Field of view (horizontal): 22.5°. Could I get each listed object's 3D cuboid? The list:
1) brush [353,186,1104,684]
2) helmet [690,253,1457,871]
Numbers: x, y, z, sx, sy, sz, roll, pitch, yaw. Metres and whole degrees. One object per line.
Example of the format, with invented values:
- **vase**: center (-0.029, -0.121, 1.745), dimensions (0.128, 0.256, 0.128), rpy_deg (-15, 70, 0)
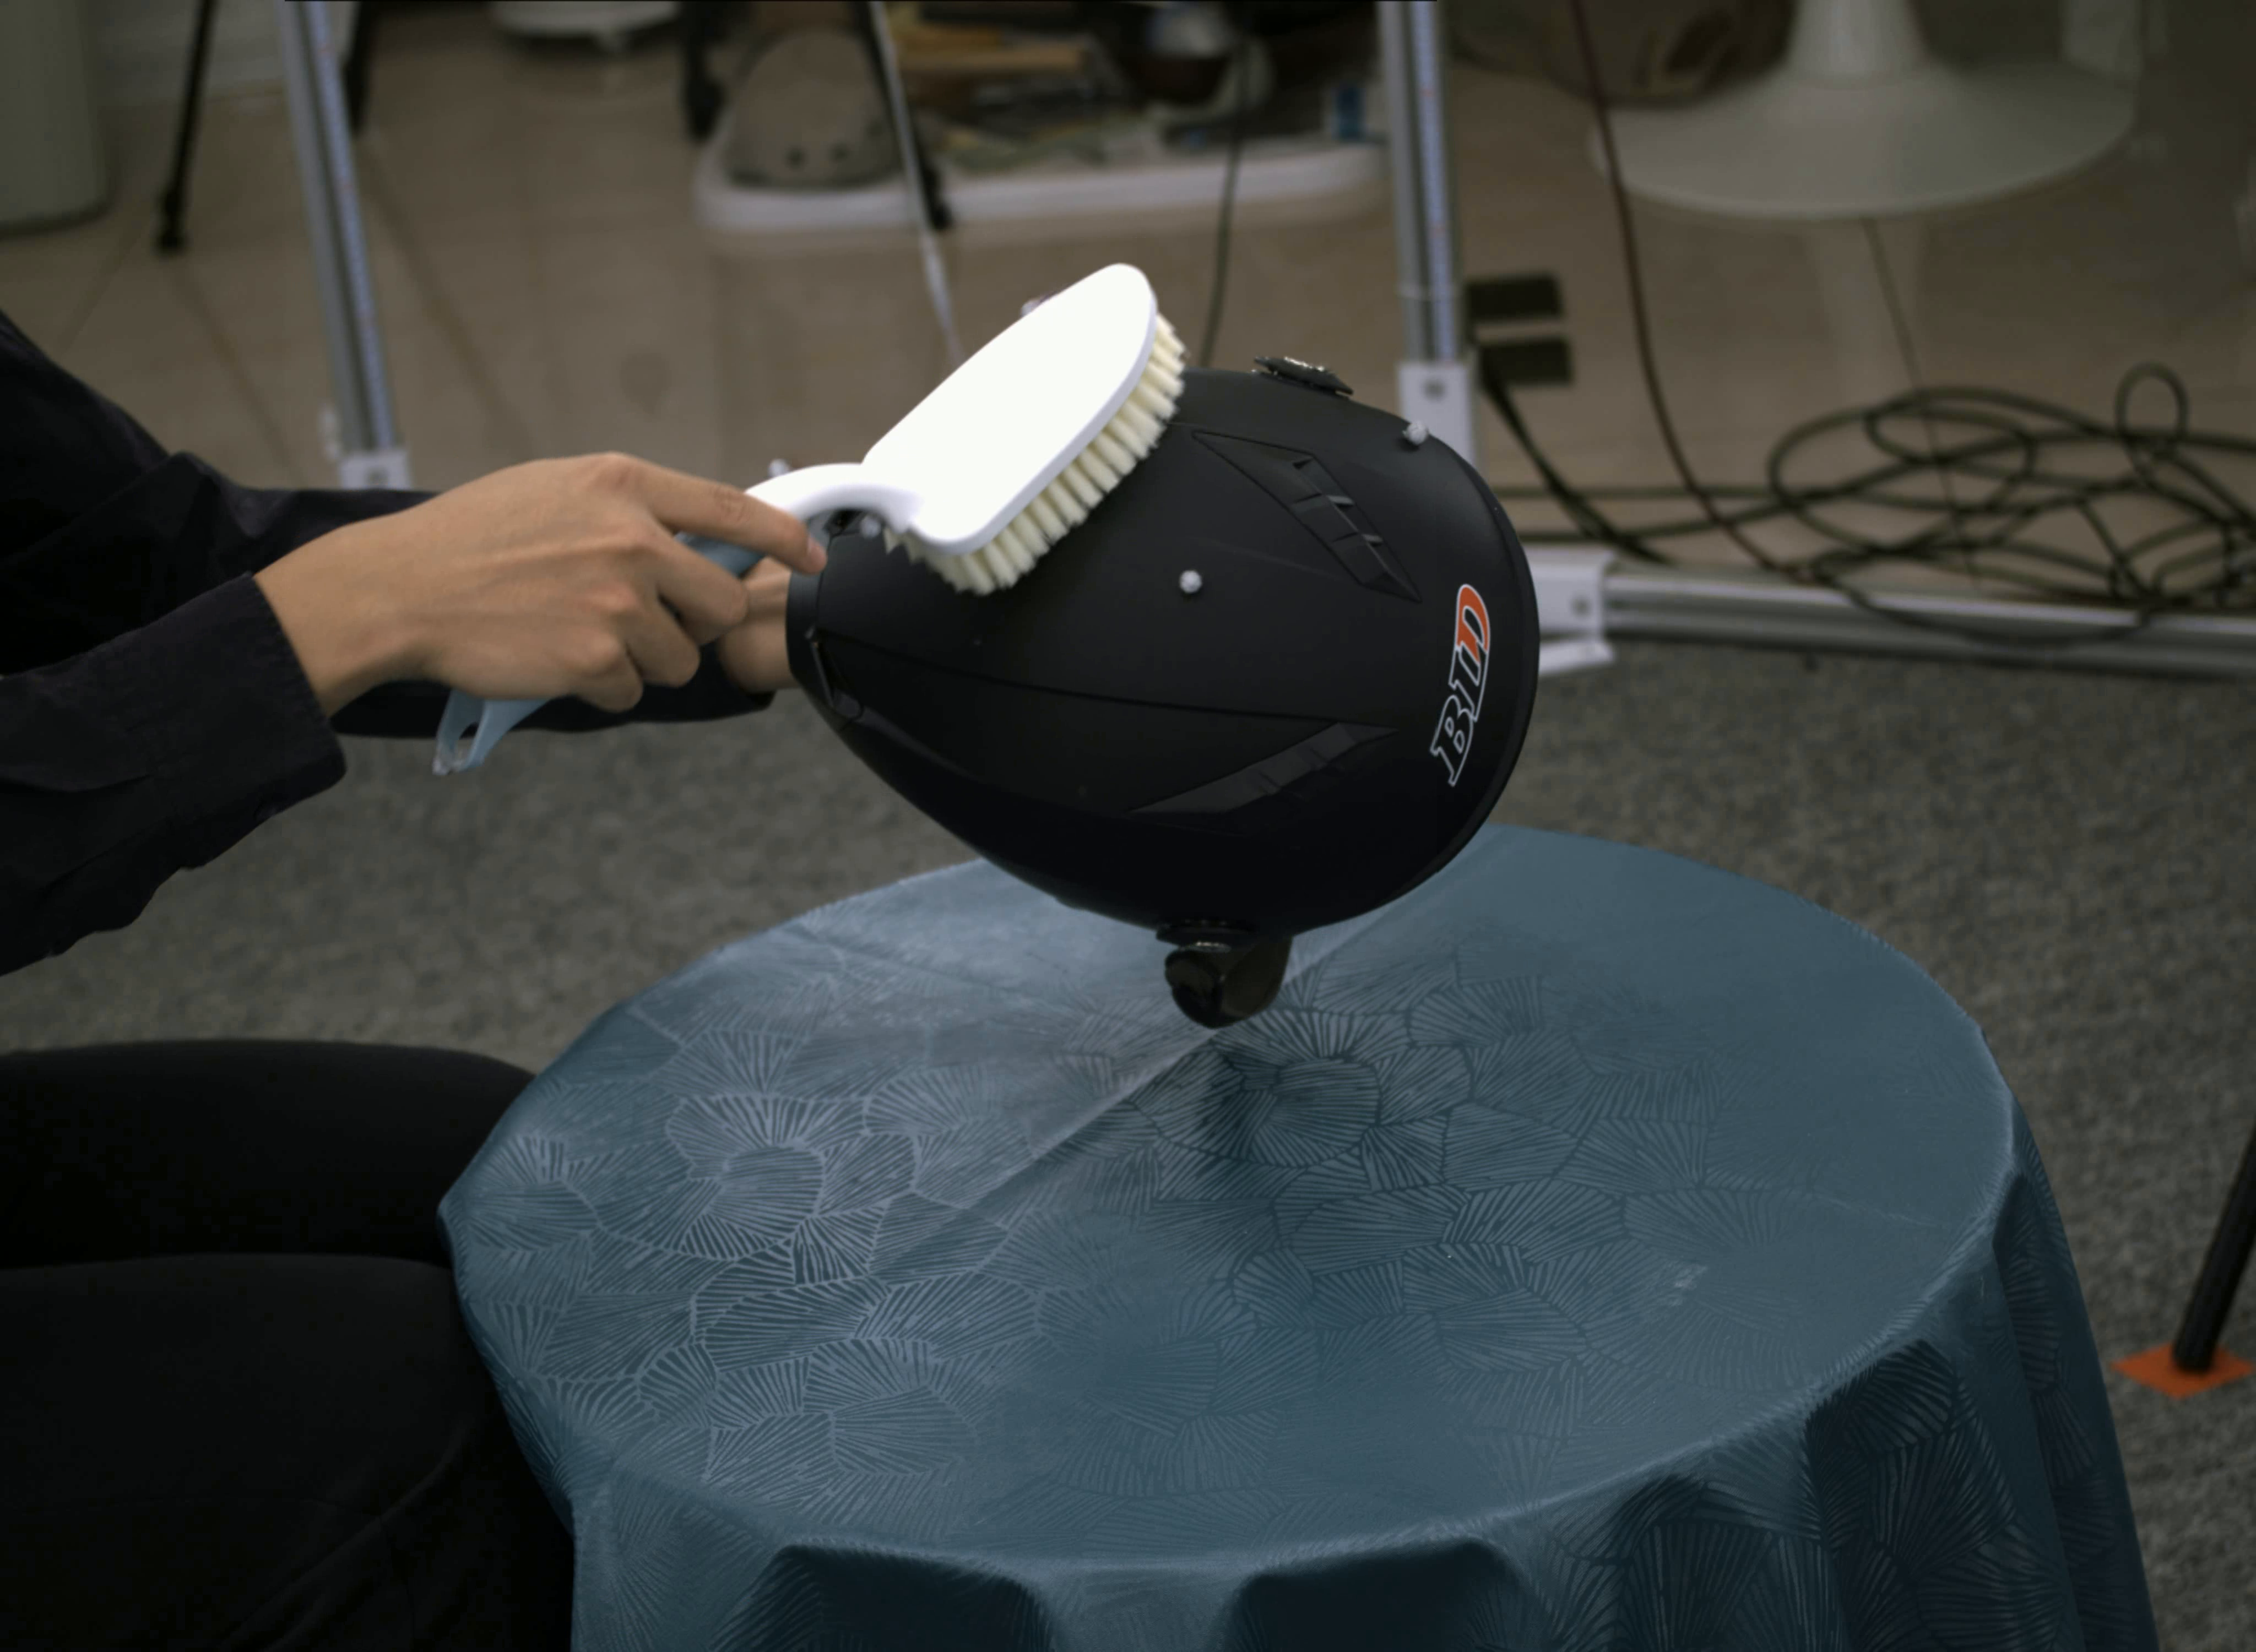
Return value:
- **brush**: center (-0.141, -0.125, 2.057), dimensions (0.323, 0.085, 0.083), rpy_deg (-35, 12, -18)
- **helmet**: center (-0.026, -0.108, 2.153), dimensions (0.275, 0.247, 0.173), rpy_deg (11, 1, 34)
